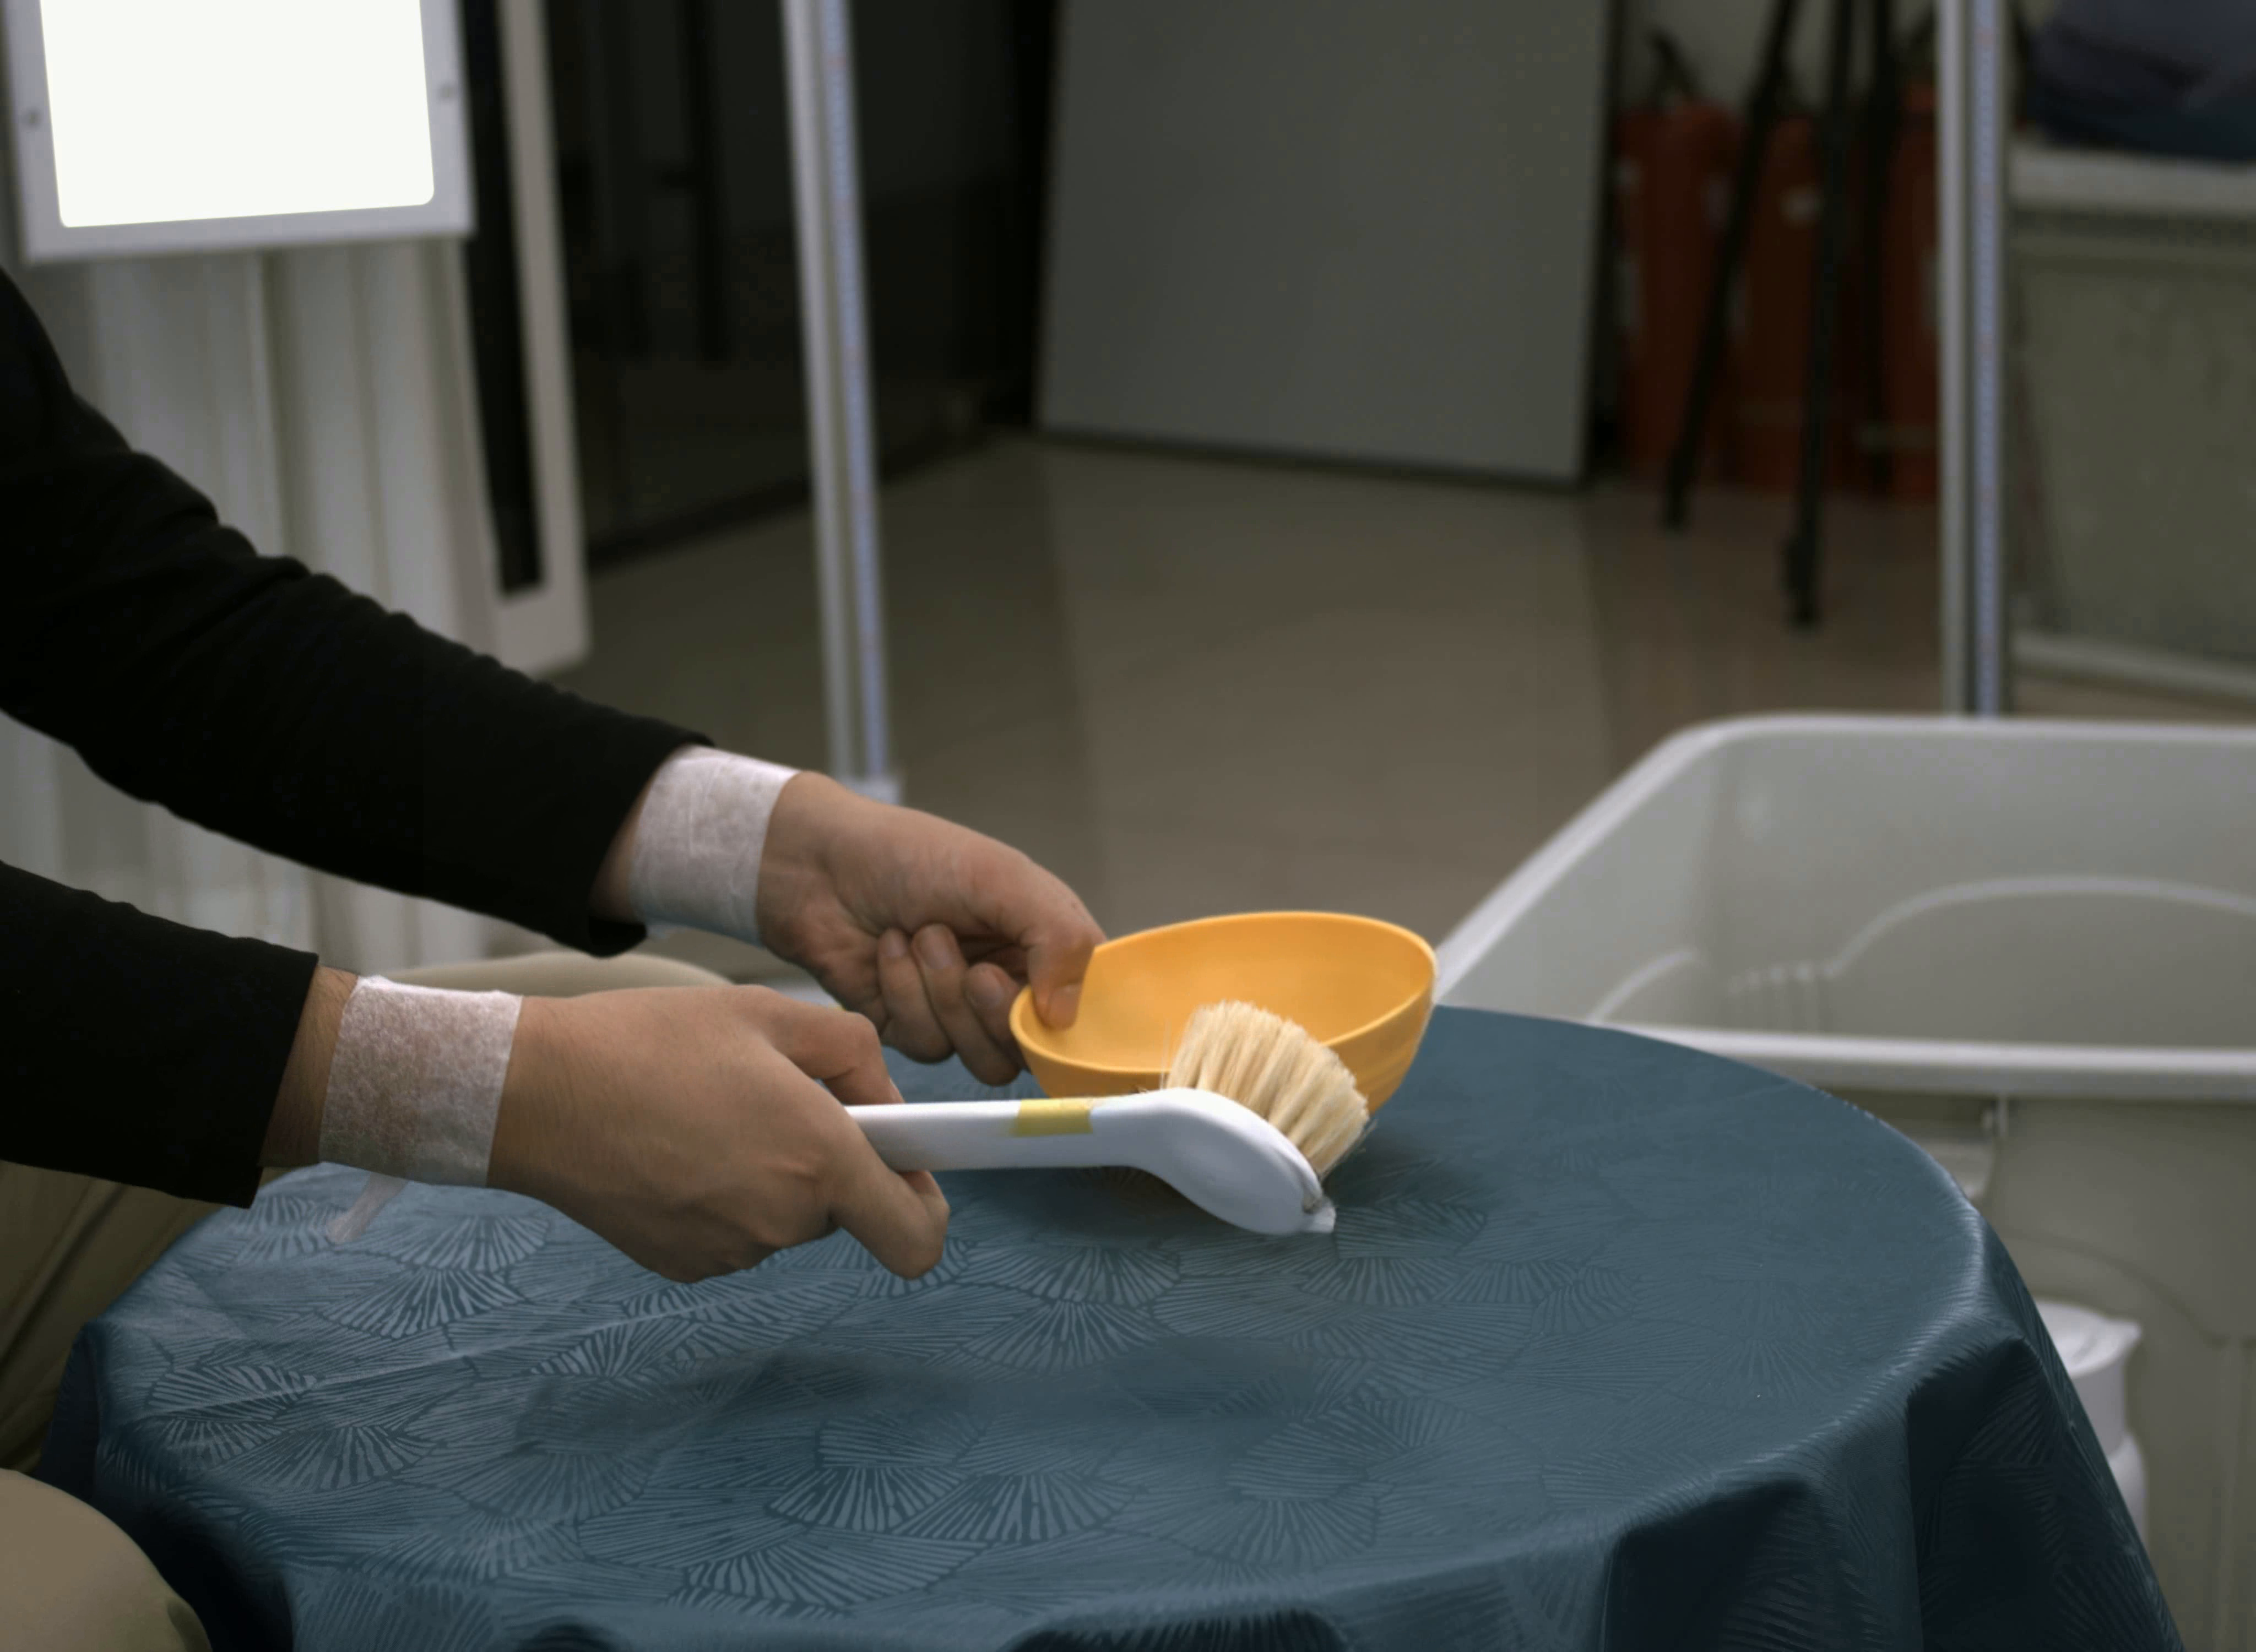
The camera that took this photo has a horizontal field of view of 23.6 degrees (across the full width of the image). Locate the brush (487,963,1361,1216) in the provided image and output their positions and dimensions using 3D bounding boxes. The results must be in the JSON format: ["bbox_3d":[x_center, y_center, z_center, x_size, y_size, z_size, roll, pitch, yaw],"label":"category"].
[{"bbox_3d":[-0.061,0.080,1.606,0.265,0.068,0.056,0,47,17],"label":"brush"}]

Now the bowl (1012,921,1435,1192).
[{"bbox_3d":[0.035,0.081,1.785,0.143,0.060,0.145,-9,16,2],"label":"bowl"}]
